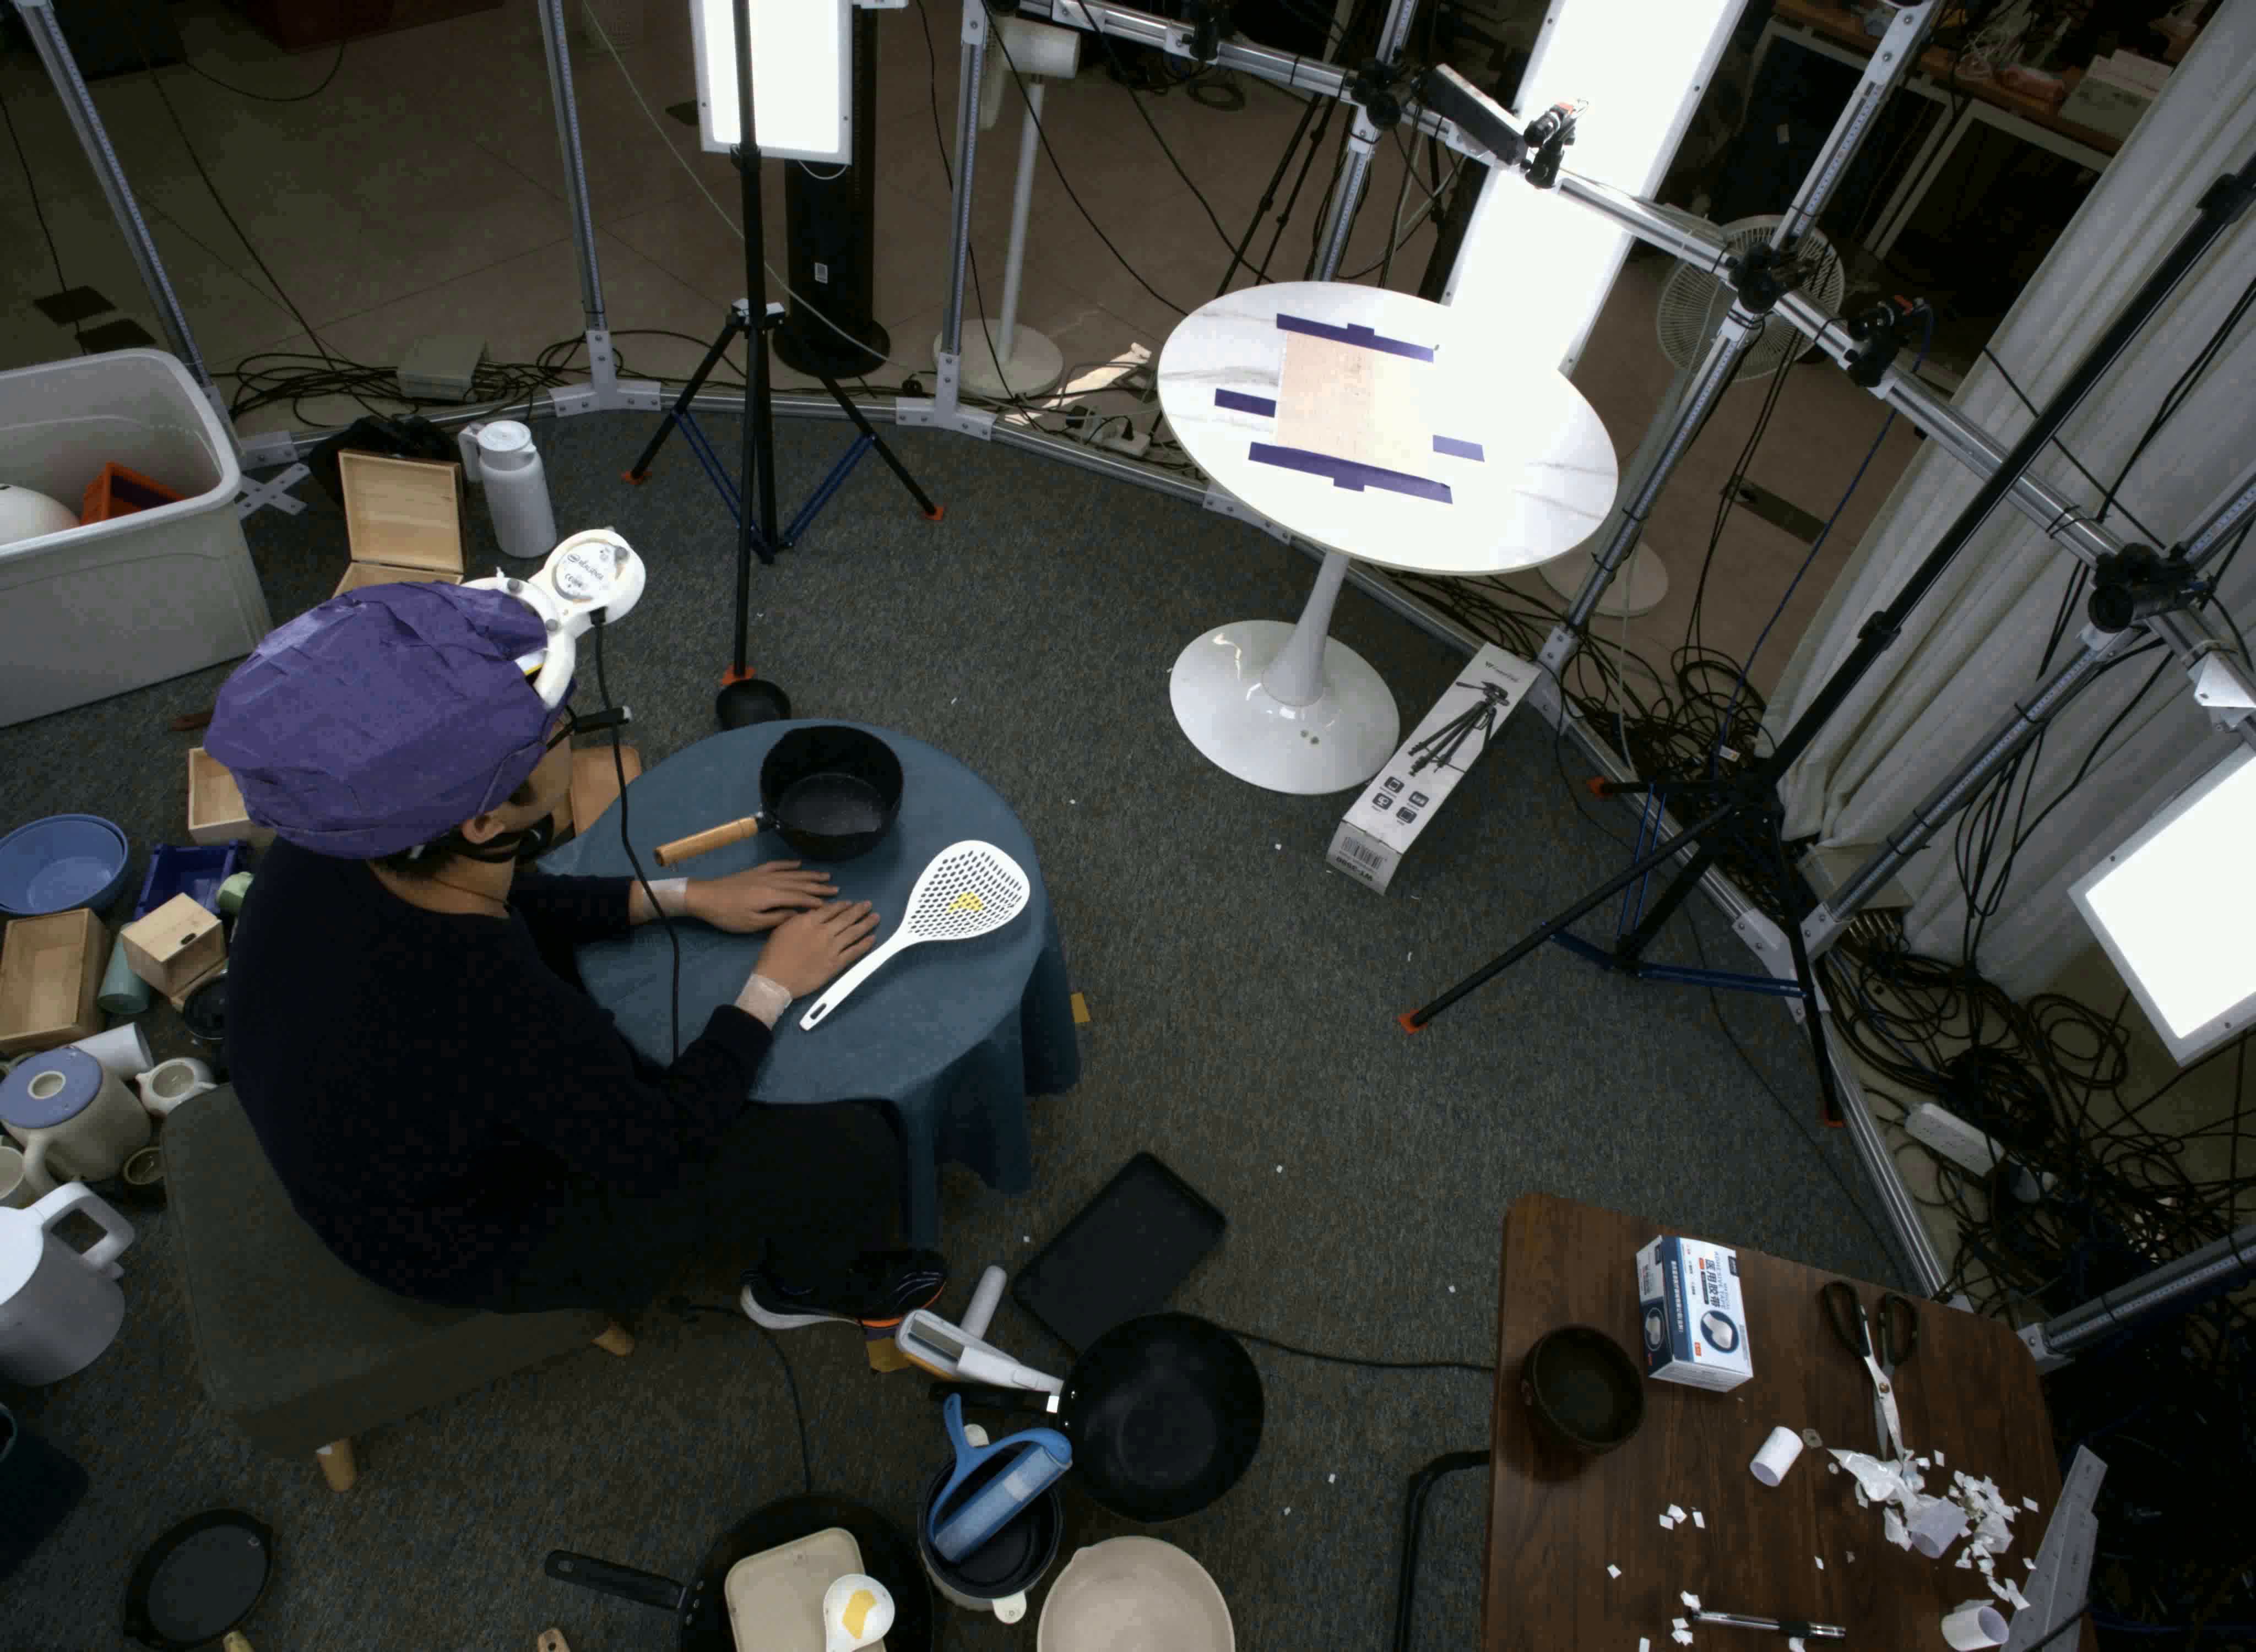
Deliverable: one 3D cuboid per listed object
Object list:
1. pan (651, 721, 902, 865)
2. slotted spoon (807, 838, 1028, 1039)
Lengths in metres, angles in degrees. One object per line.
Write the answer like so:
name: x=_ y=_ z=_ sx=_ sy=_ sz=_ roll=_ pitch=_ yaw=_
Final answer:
pan: x=-0.445 y=-0.010 z=1.646 sx=0.344 sy=0.110 sz=0.203 roll=-32 pitch=68 yaw=-33
slotted spoon: x=-0.270 y=0.139 z=1.623 sx=0.134 sy=0.051 sz=0.348 roll=40 pitch=53 yaw=15
